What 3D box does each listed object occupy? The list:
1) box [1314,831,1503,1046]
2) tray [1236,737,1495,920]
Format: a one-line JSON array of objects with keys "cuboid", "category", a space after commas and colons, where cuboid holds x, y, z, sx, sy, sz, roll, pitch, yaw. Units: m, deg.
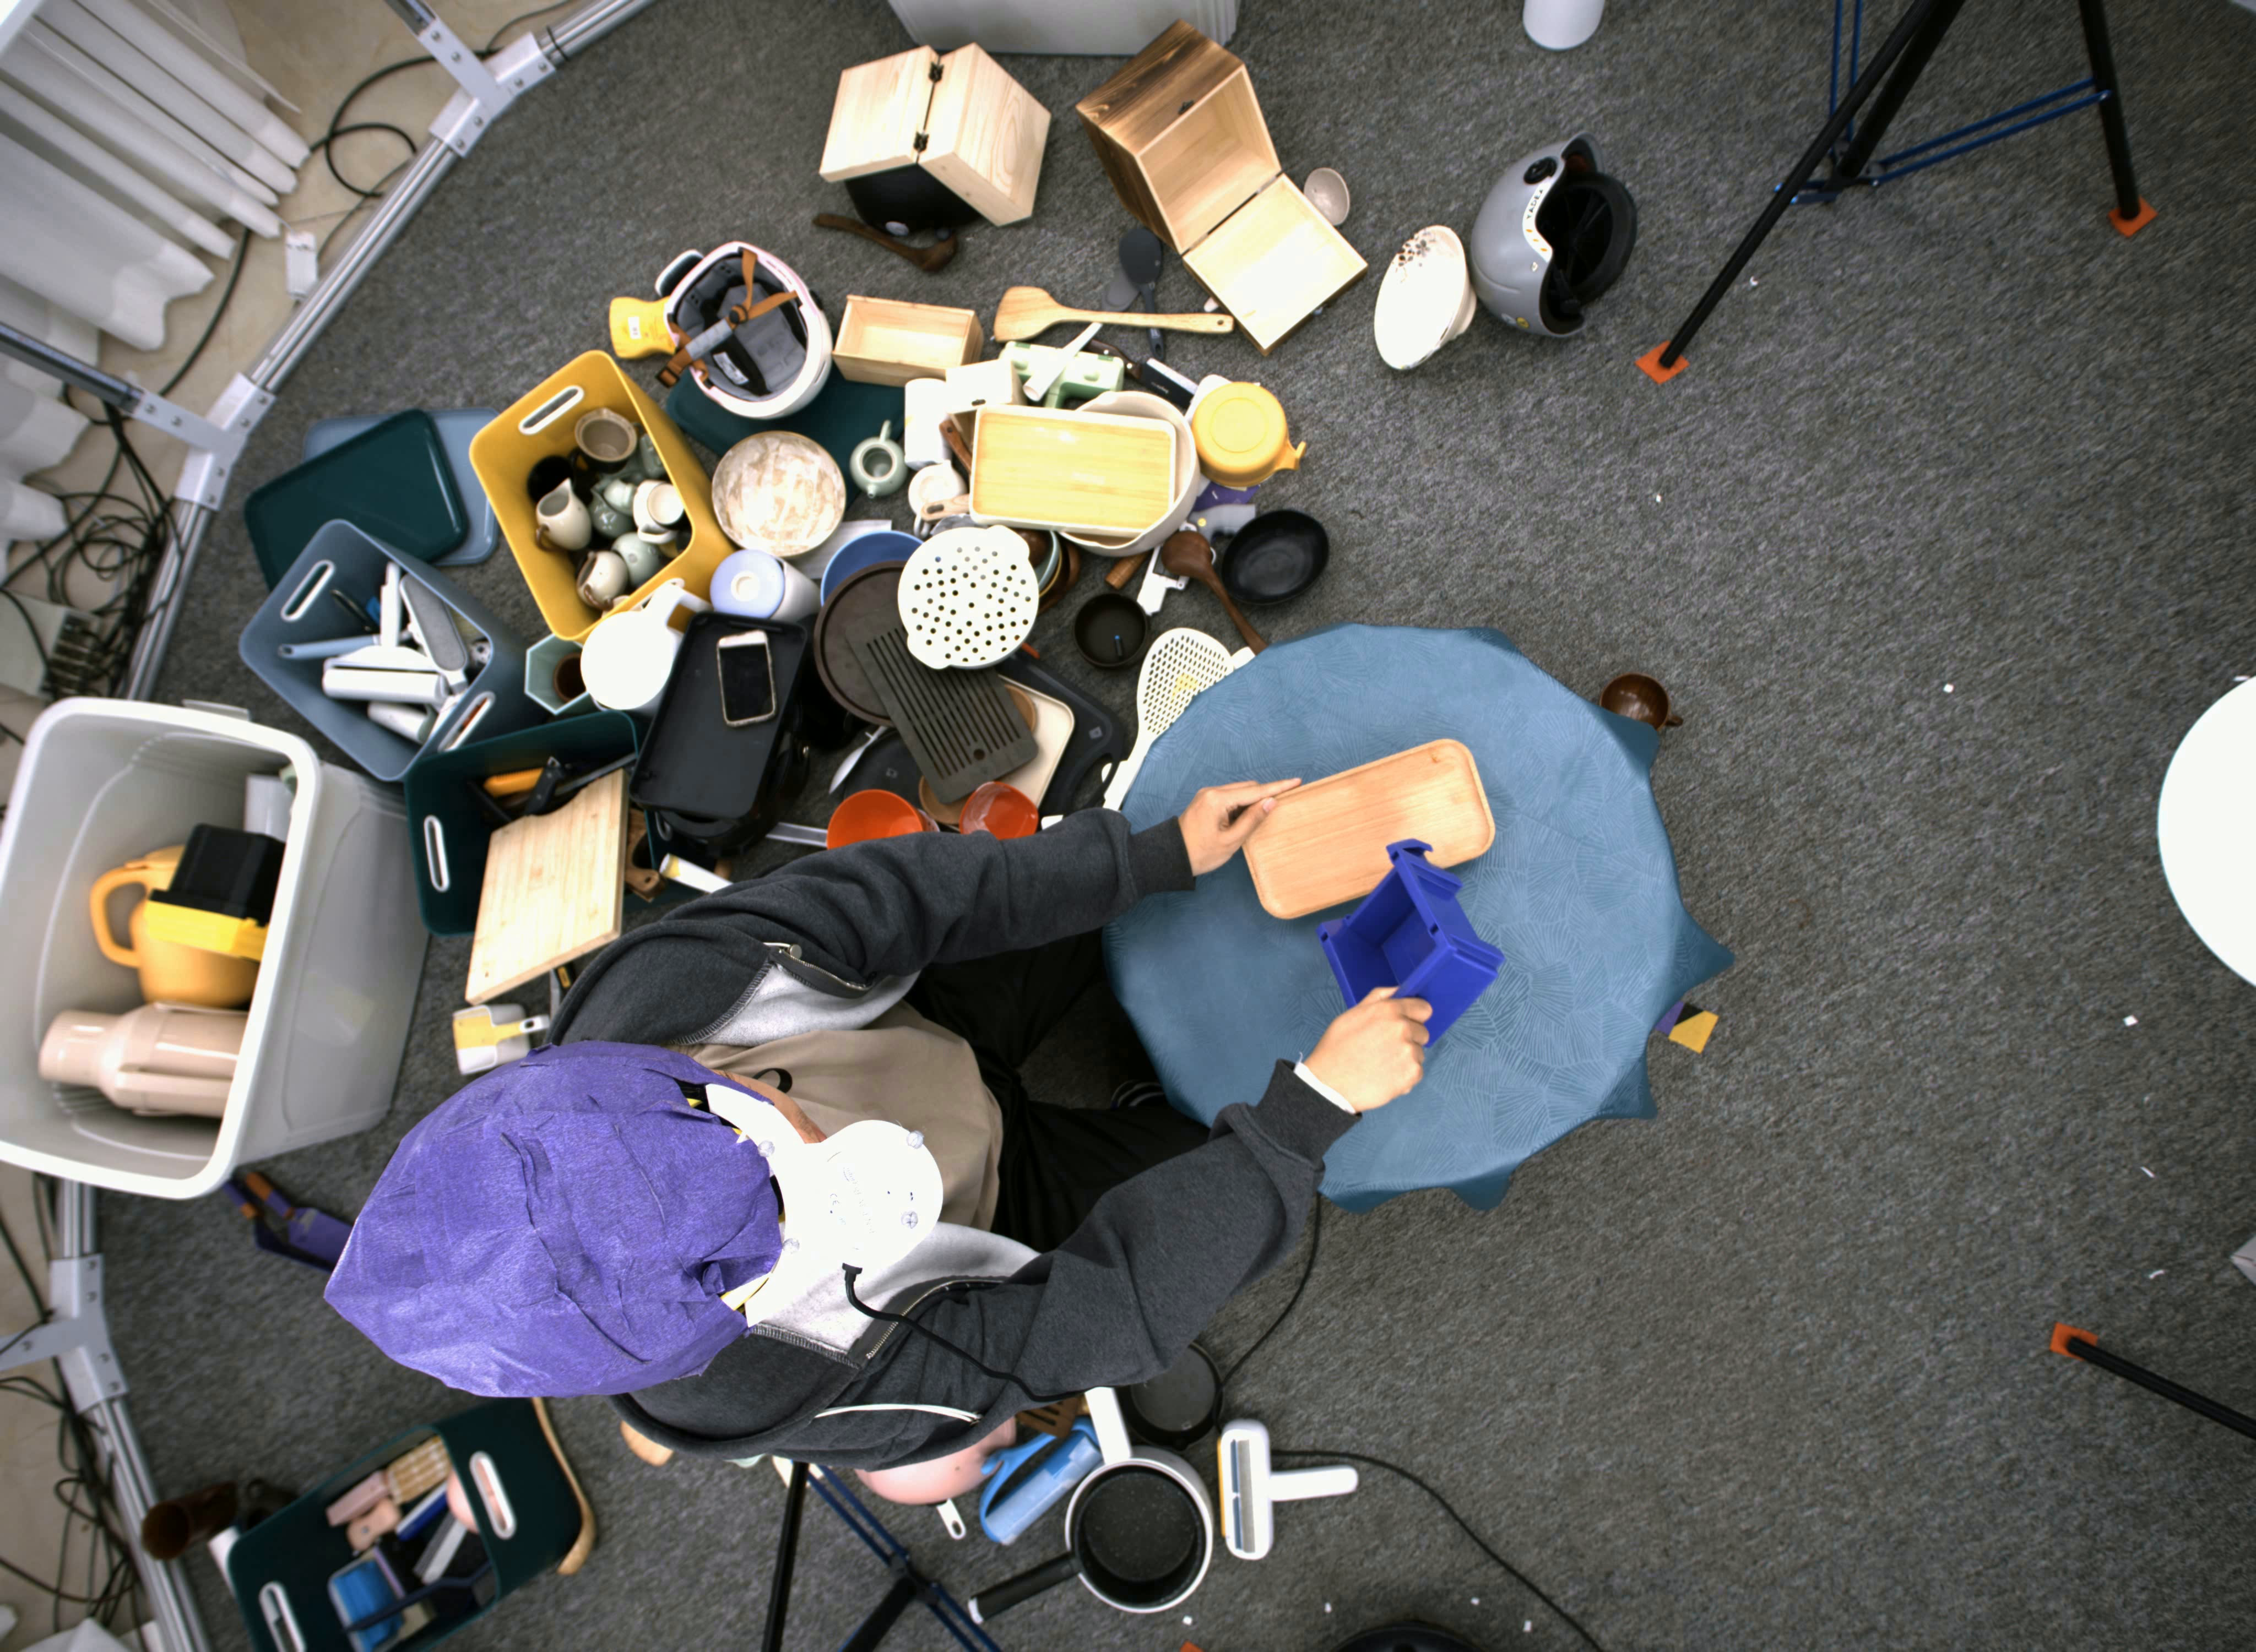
[{"cuboid": [0.251, 0.100, 1.265, 0.127, 0.082, 0.175, -51, 35, 29], "category": "box"}, {"cuboid": [0.241, 0.002, 1.404, 0.252, 0.023, 0.131, -19, 94, 6], "category": "tray"}]
